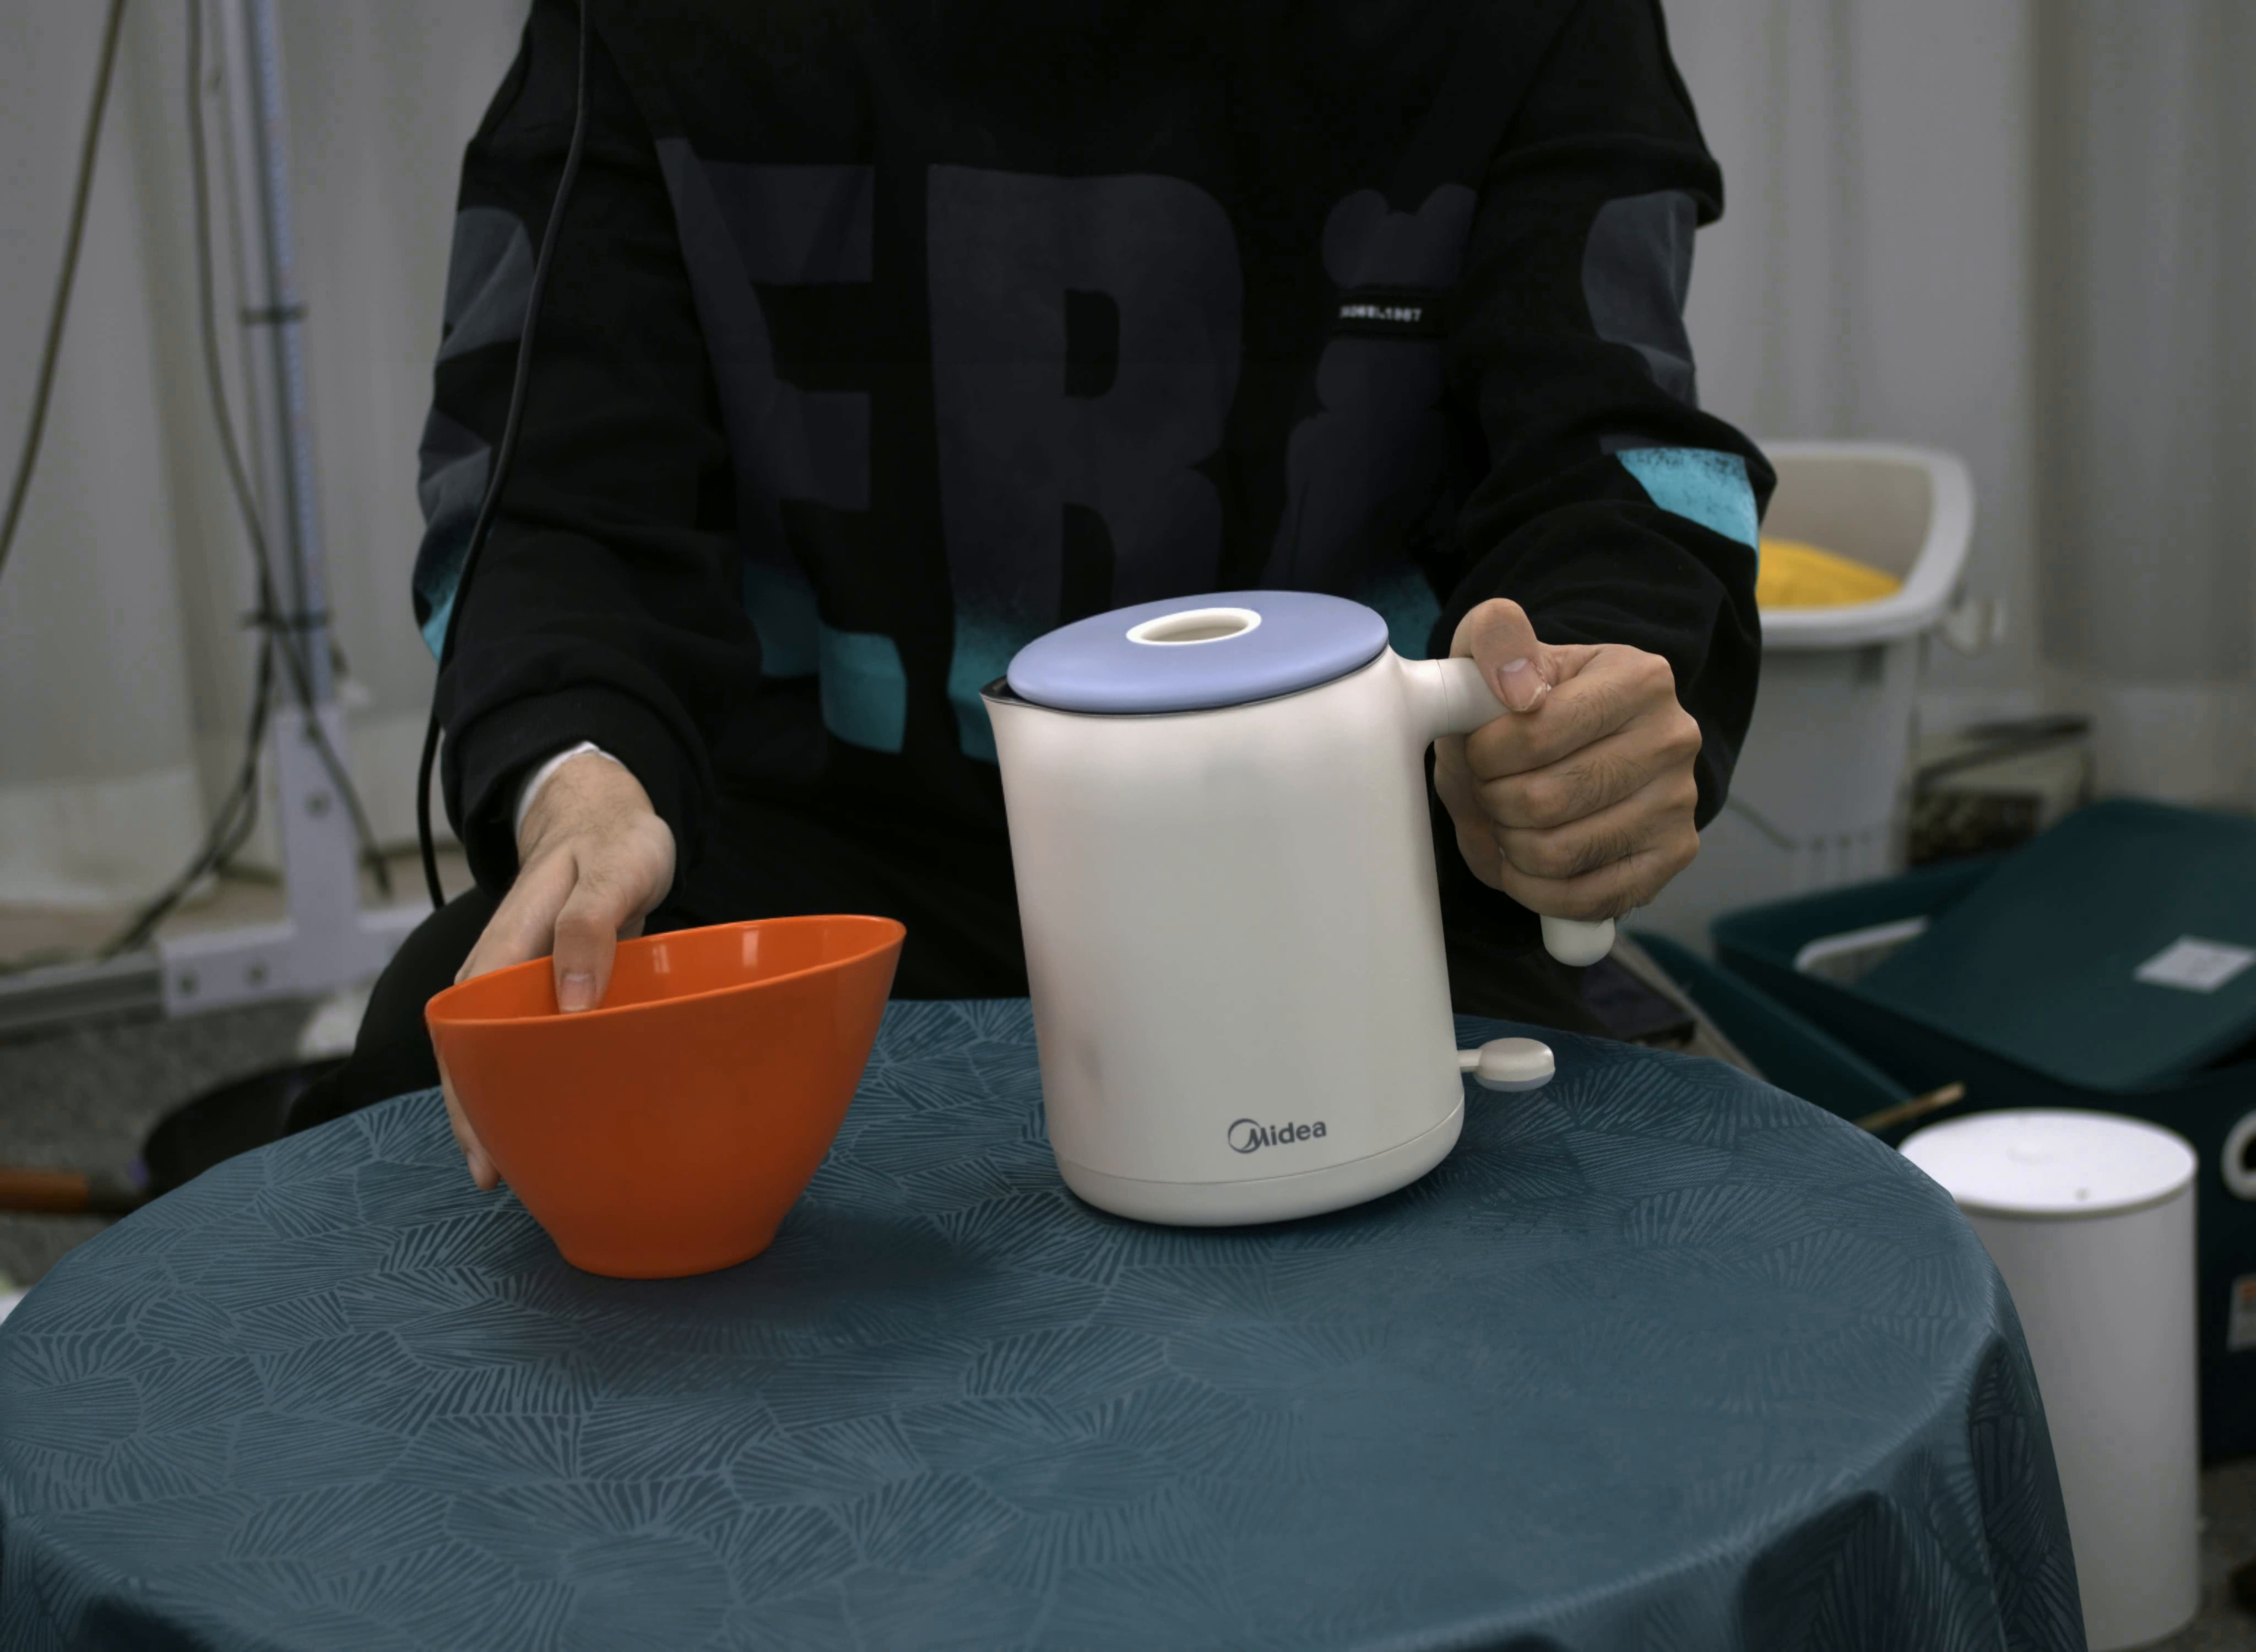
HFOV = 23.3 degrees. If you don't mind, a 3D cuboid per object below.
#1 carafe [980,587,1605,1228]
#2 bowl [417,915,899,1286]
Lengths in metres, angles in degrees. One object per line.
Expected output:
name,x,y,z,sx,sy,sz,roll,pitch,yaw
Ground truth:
carafe,0.055,0.021,1.704,0.190,0.182,0.133,-6,16,-6
bowl,-0.140,0.083,1.667,0.147,0.104,0.149,-3,15,1
